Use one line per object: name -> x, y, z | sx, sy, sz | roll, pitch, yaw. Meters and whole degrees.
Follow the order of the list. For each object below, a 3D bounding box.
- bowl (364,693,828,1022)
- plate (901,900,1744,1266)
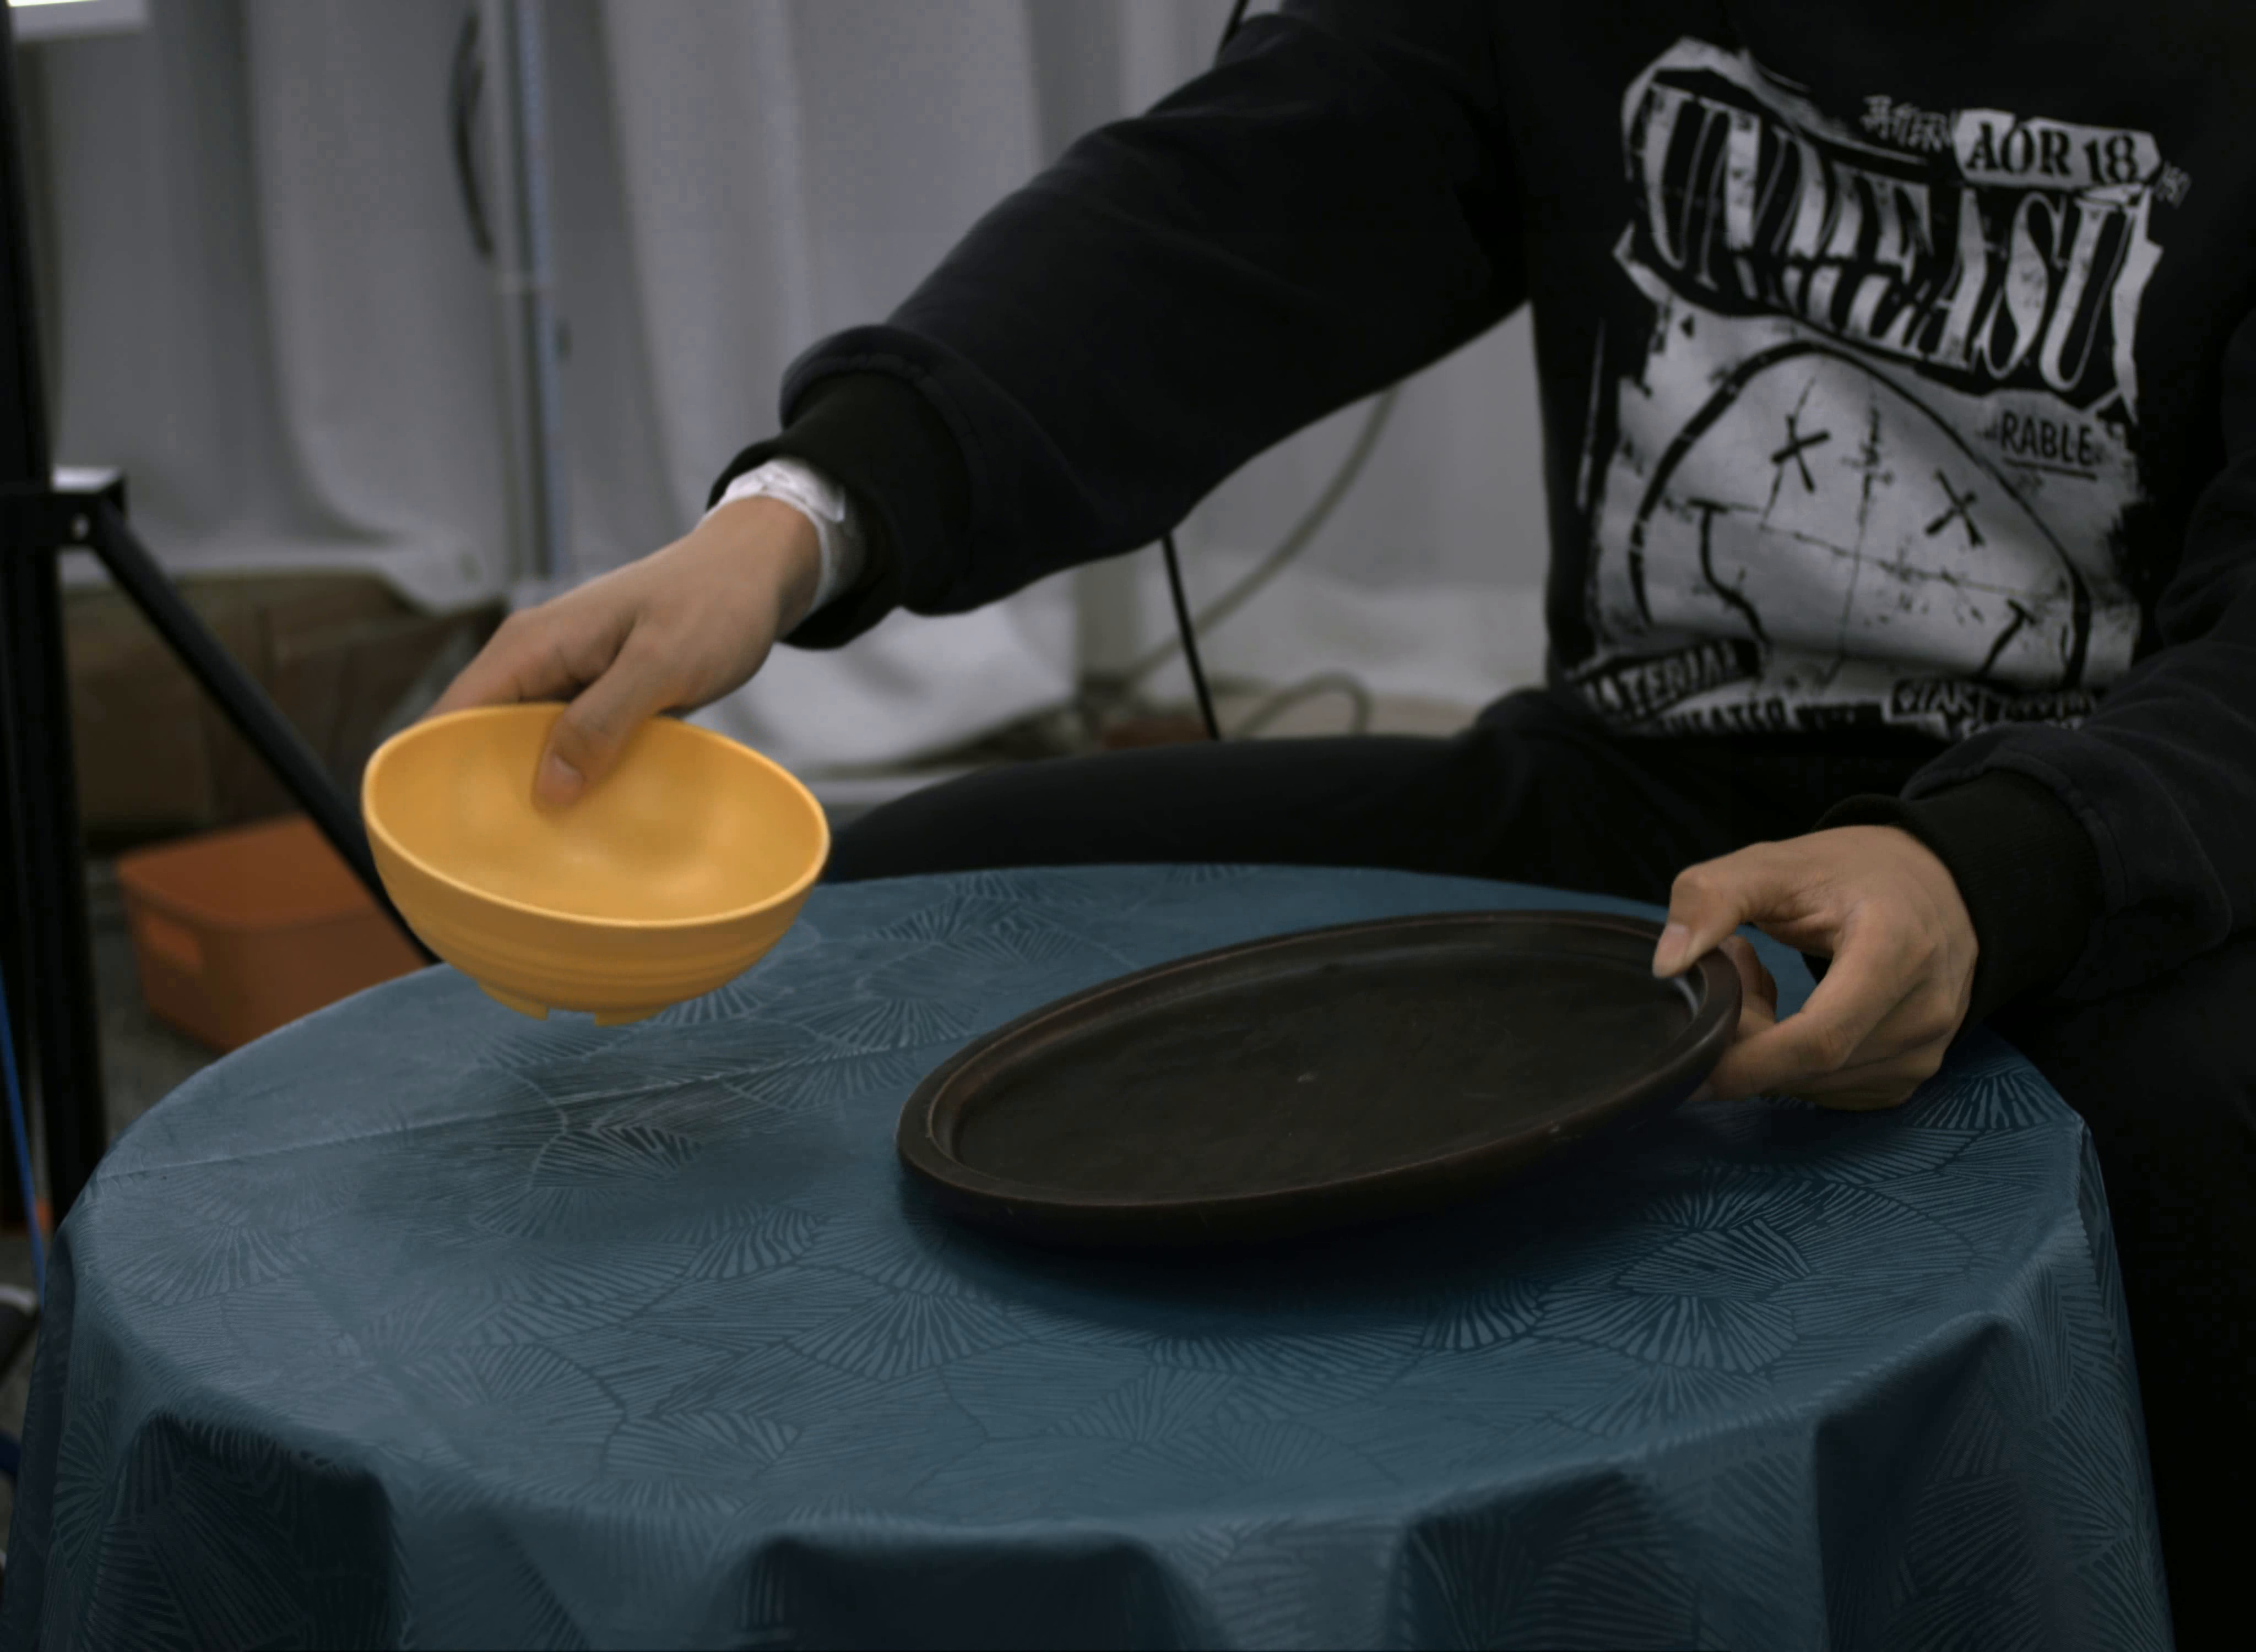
bowl -> -0.168, 0.019, 1.642 | 0.144, 0.060, 0.146 | 10, 26, -6
plate -> 0.058, 0.074, 1.563 | 0.254, 0.029, 0.256 | -13, 13, 2
